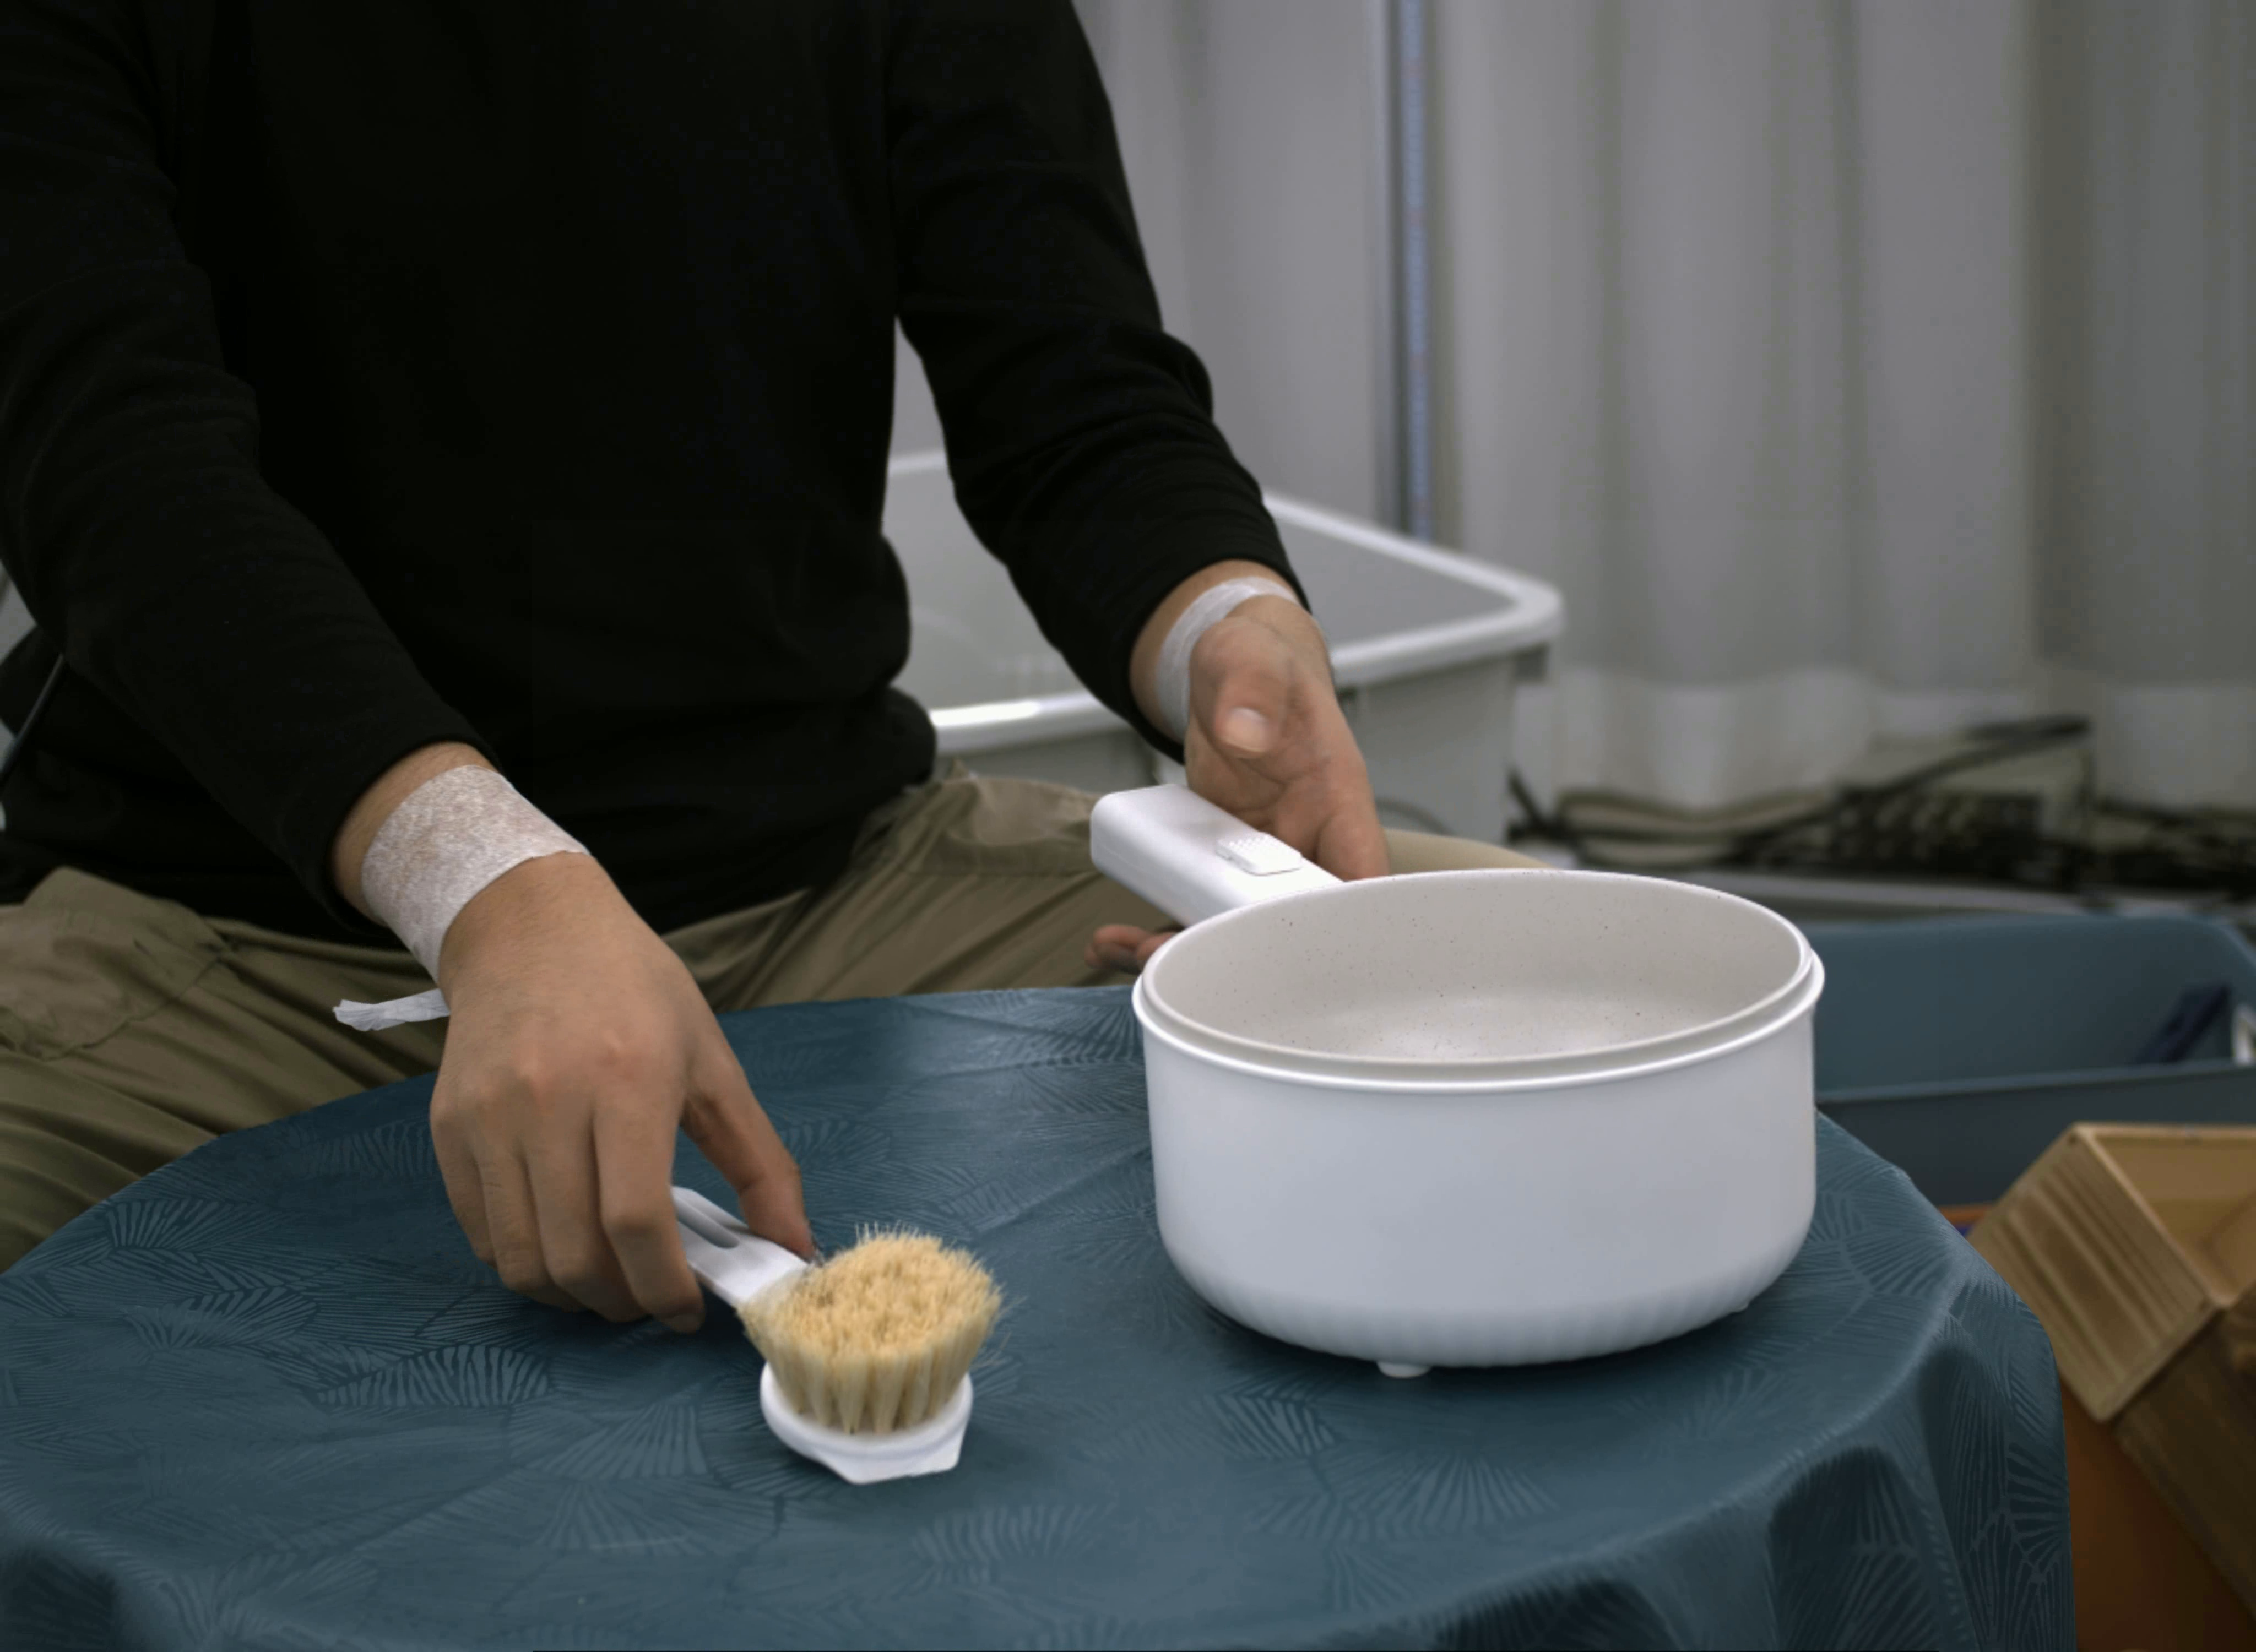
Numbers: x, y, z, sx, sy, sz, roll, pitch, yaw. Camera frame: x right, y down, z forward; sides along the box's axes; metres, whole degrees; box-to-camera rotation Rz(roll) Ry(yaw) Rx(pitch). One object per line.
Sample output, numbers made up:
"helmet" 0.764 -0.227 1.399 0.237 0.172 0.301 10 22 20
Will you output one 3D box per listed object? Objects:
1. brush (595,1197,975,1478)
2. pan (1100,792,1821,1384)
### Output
"brush" -0.112 0.124 1.596 0.068 0.056 0.268 -3 13 -19
"pan" 0.075 0.073 1.671 0.200 0.102 0.357 -10 15 -20
